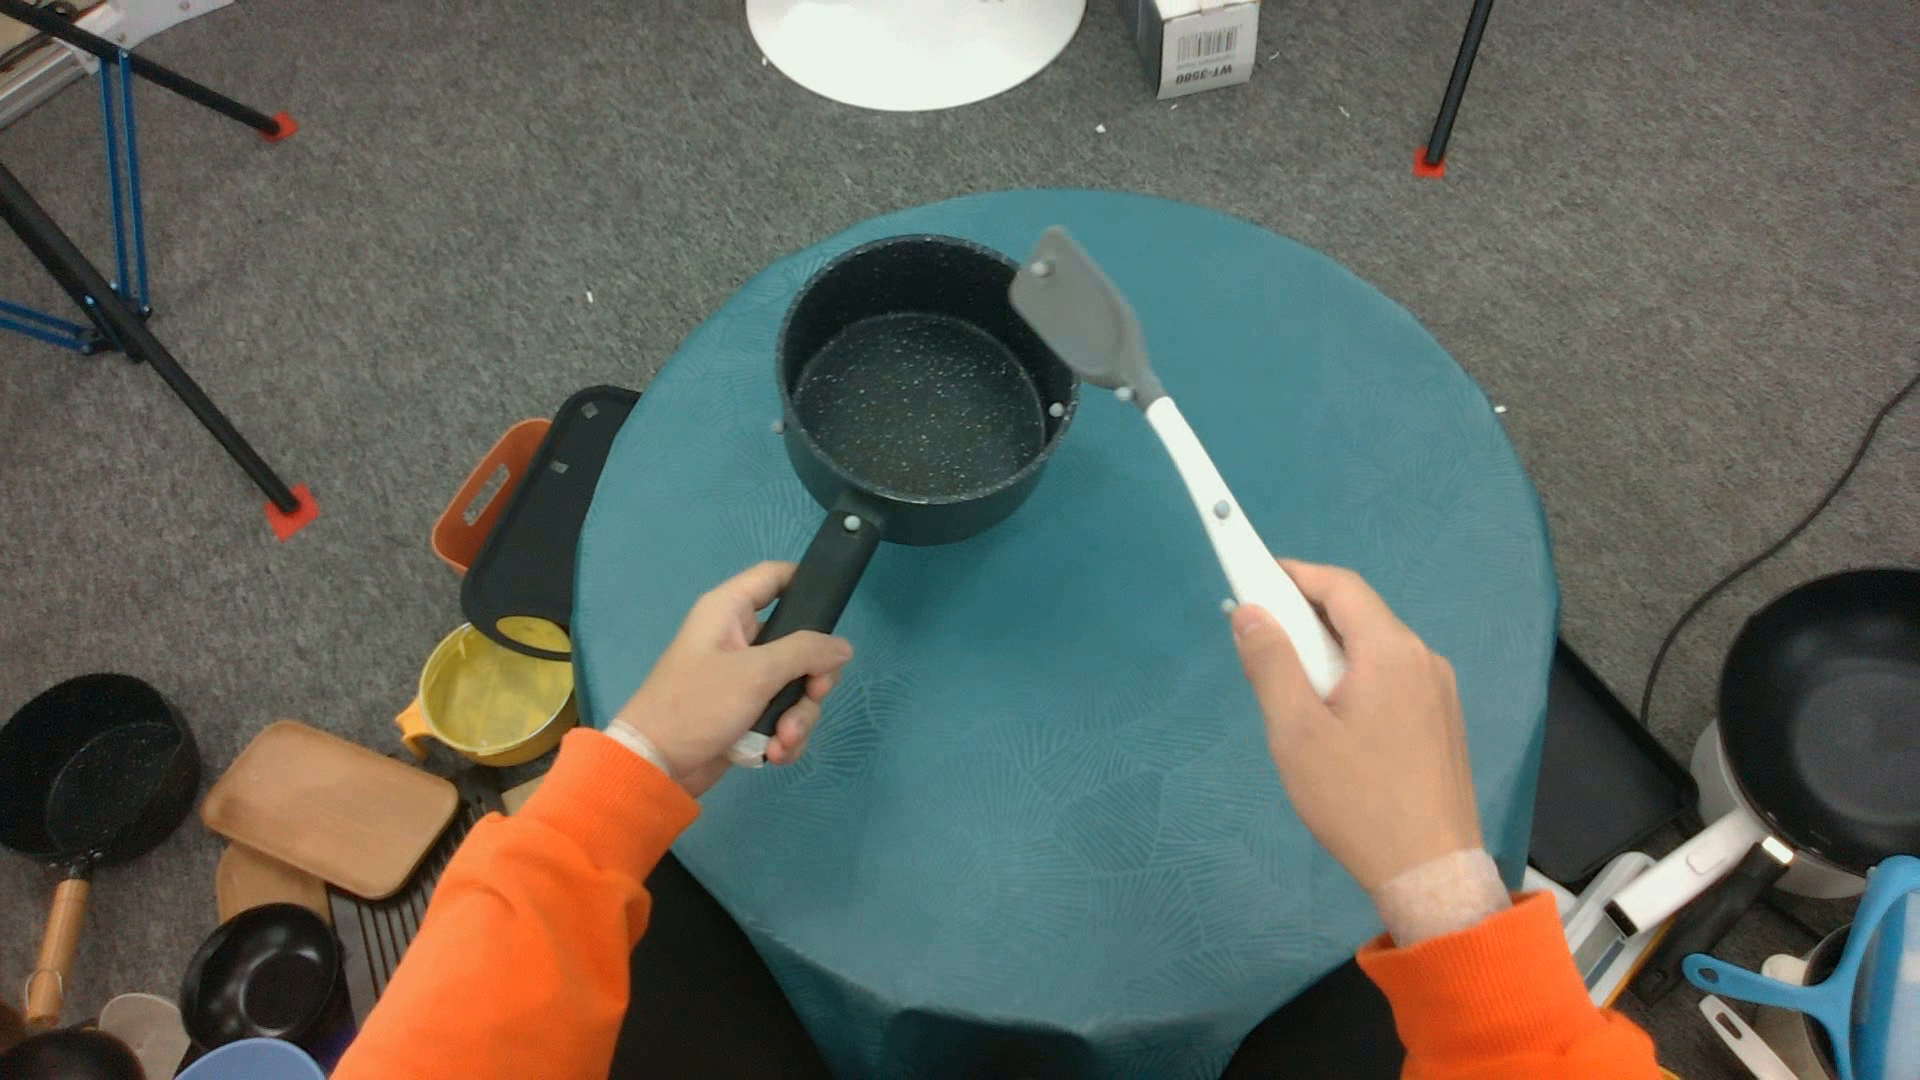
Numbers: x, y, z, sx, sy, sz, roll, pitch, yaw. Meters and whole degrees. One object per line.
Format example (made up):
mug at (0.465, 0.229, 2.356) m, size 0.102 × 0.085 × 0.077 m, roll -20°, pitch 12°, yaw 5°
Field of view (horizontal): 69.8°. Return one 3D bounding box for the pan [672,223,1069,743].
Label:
pan at (-0.059, -0.027, 0.758) m, size 0.172 × 0.086 × 0.330 m, roll 25°, pitch 64°, yaw 4°

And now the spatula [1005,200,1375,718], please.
spatula at (0.101, -0.045, 0.645) m, size 0.032 × 0.058 × 0.288 m, roll -3°, pitch 53°, yaw -39°
